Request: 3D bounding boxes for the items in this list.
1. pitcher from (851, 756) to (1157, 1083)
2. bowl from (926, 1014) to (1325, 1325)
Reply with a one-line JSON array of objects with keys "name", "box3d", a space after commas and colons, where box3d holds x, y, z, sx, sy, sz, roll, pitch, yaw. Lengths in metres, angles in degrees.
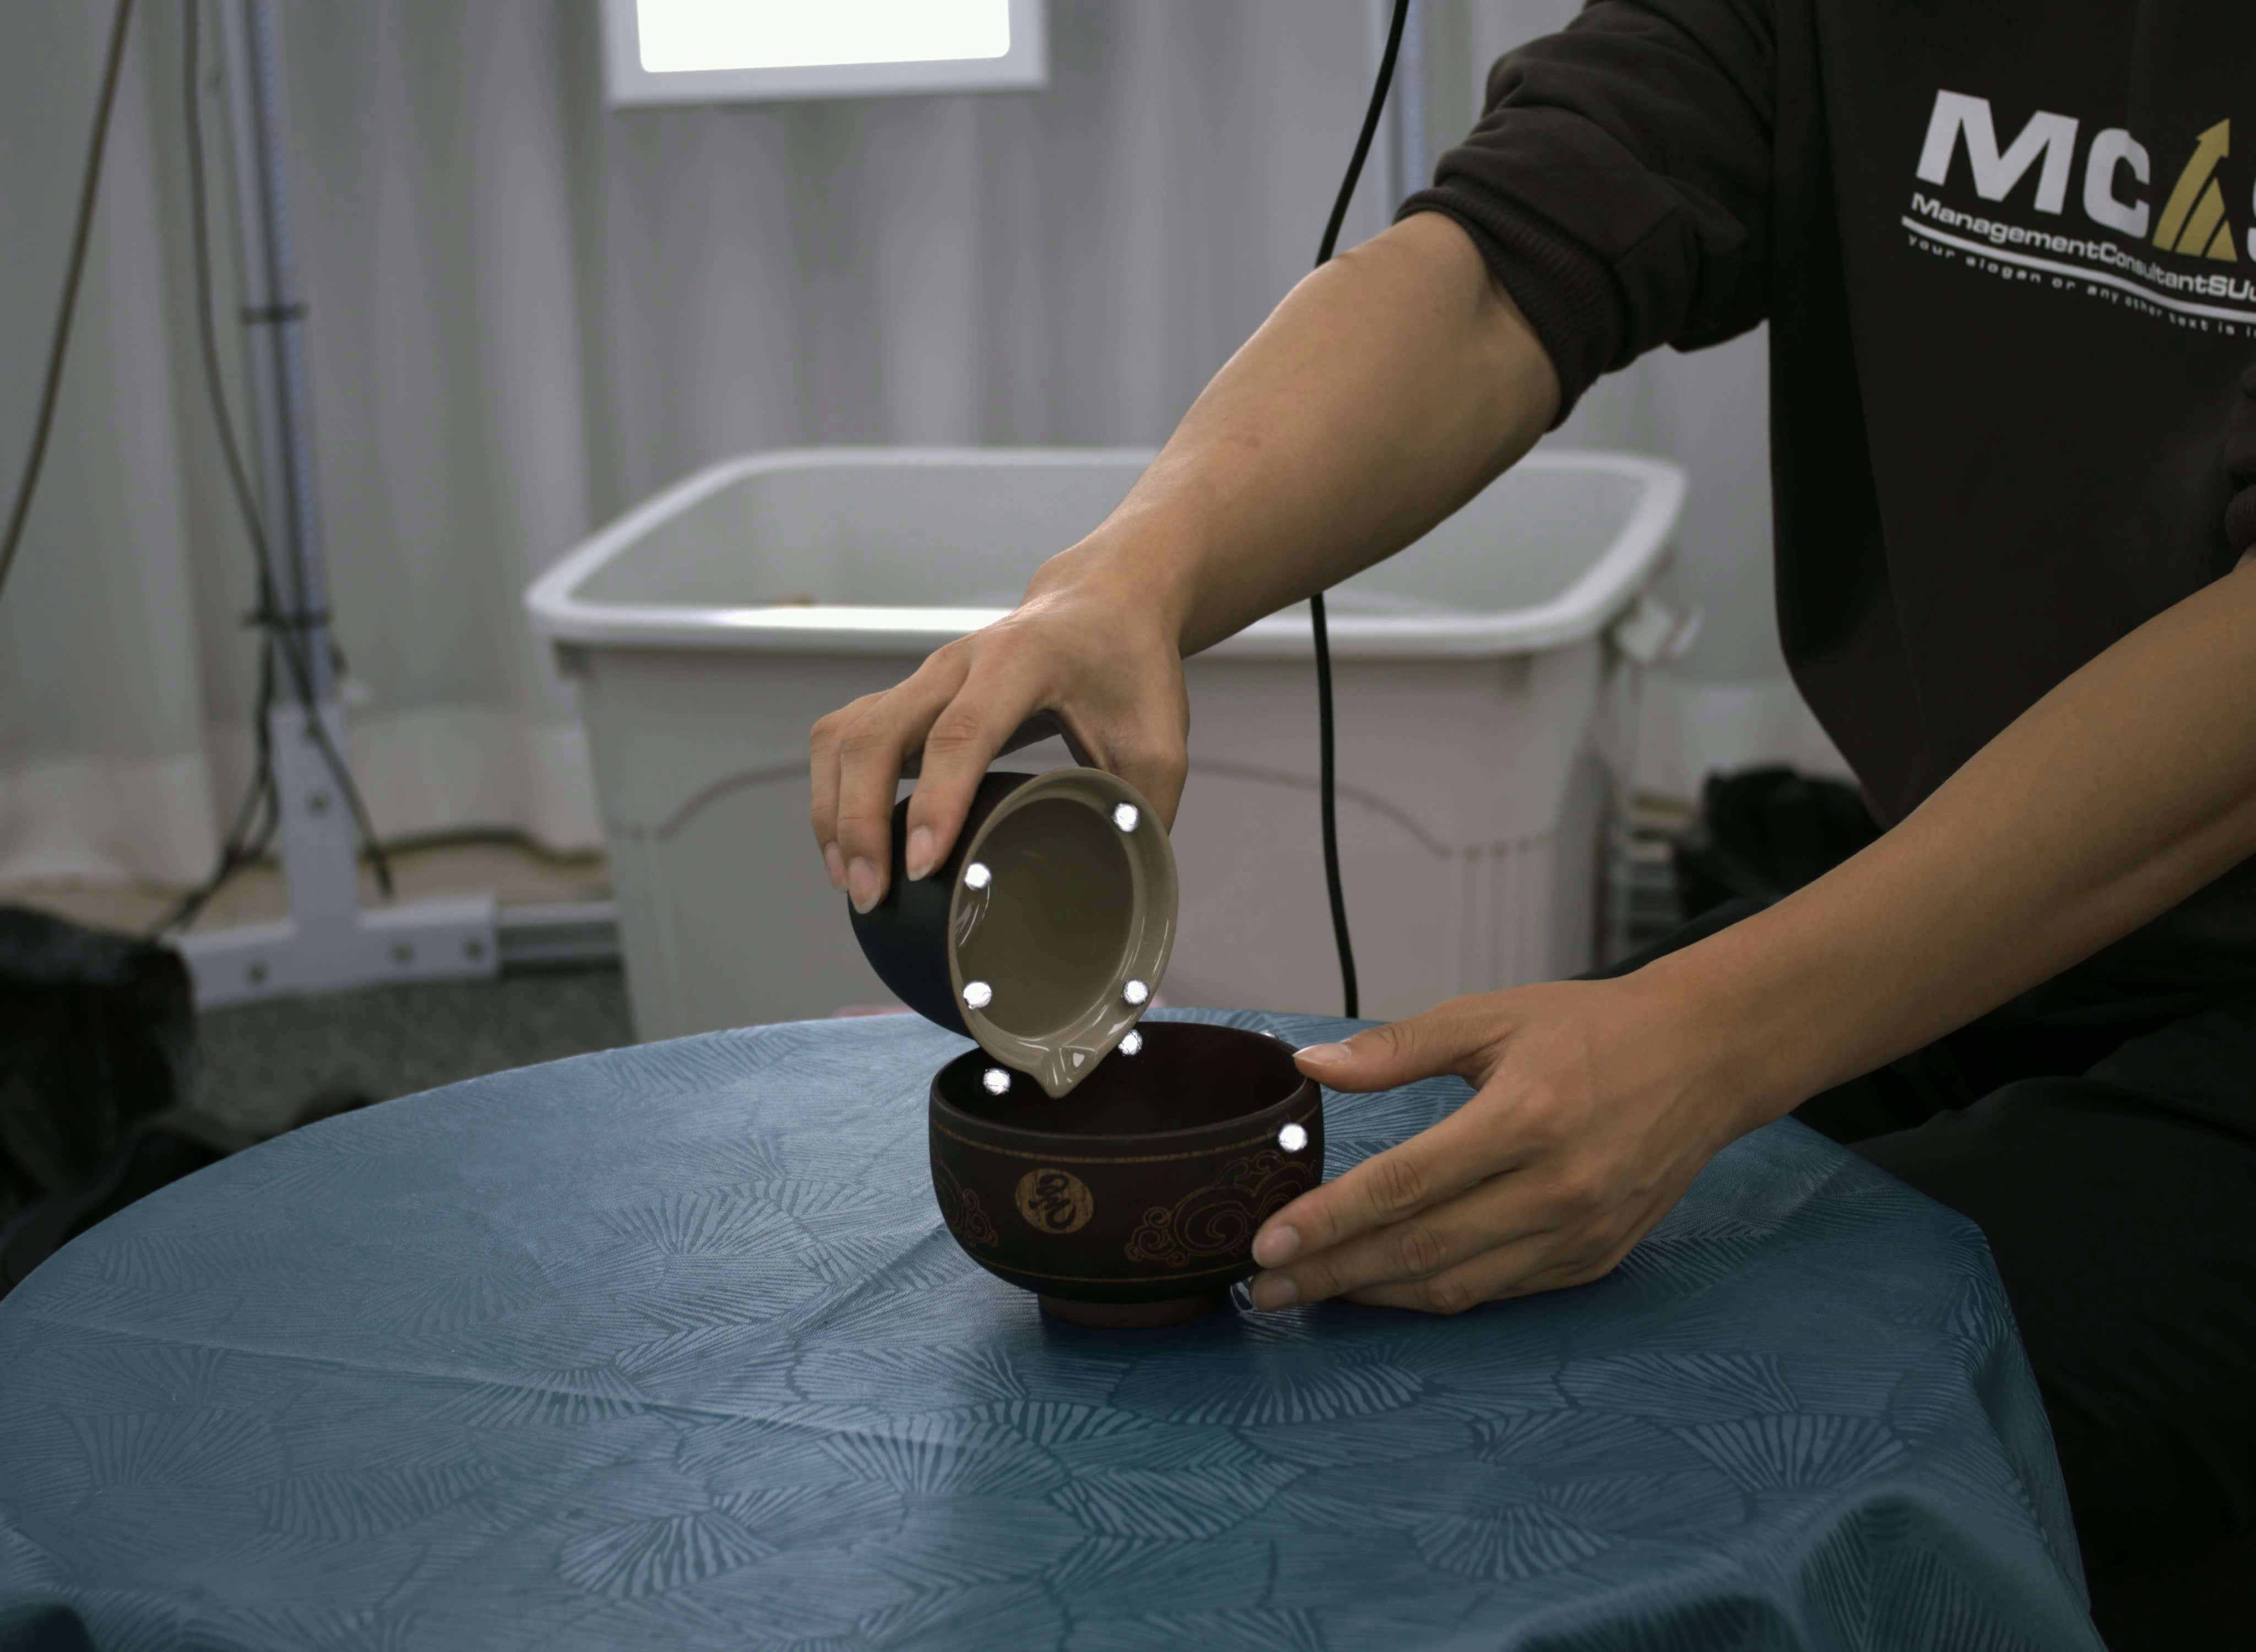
[{"name": "pitcher", "box3d": [-0.042, 0.023, 1.642, 0.072, 0.096, 0.083, 14, 11, 42]}, {"name": "bowl", "box3d": [0.001, 0.105, 1.616, 0.117, 0.069, 0.119, -5, 15, 1]}]
